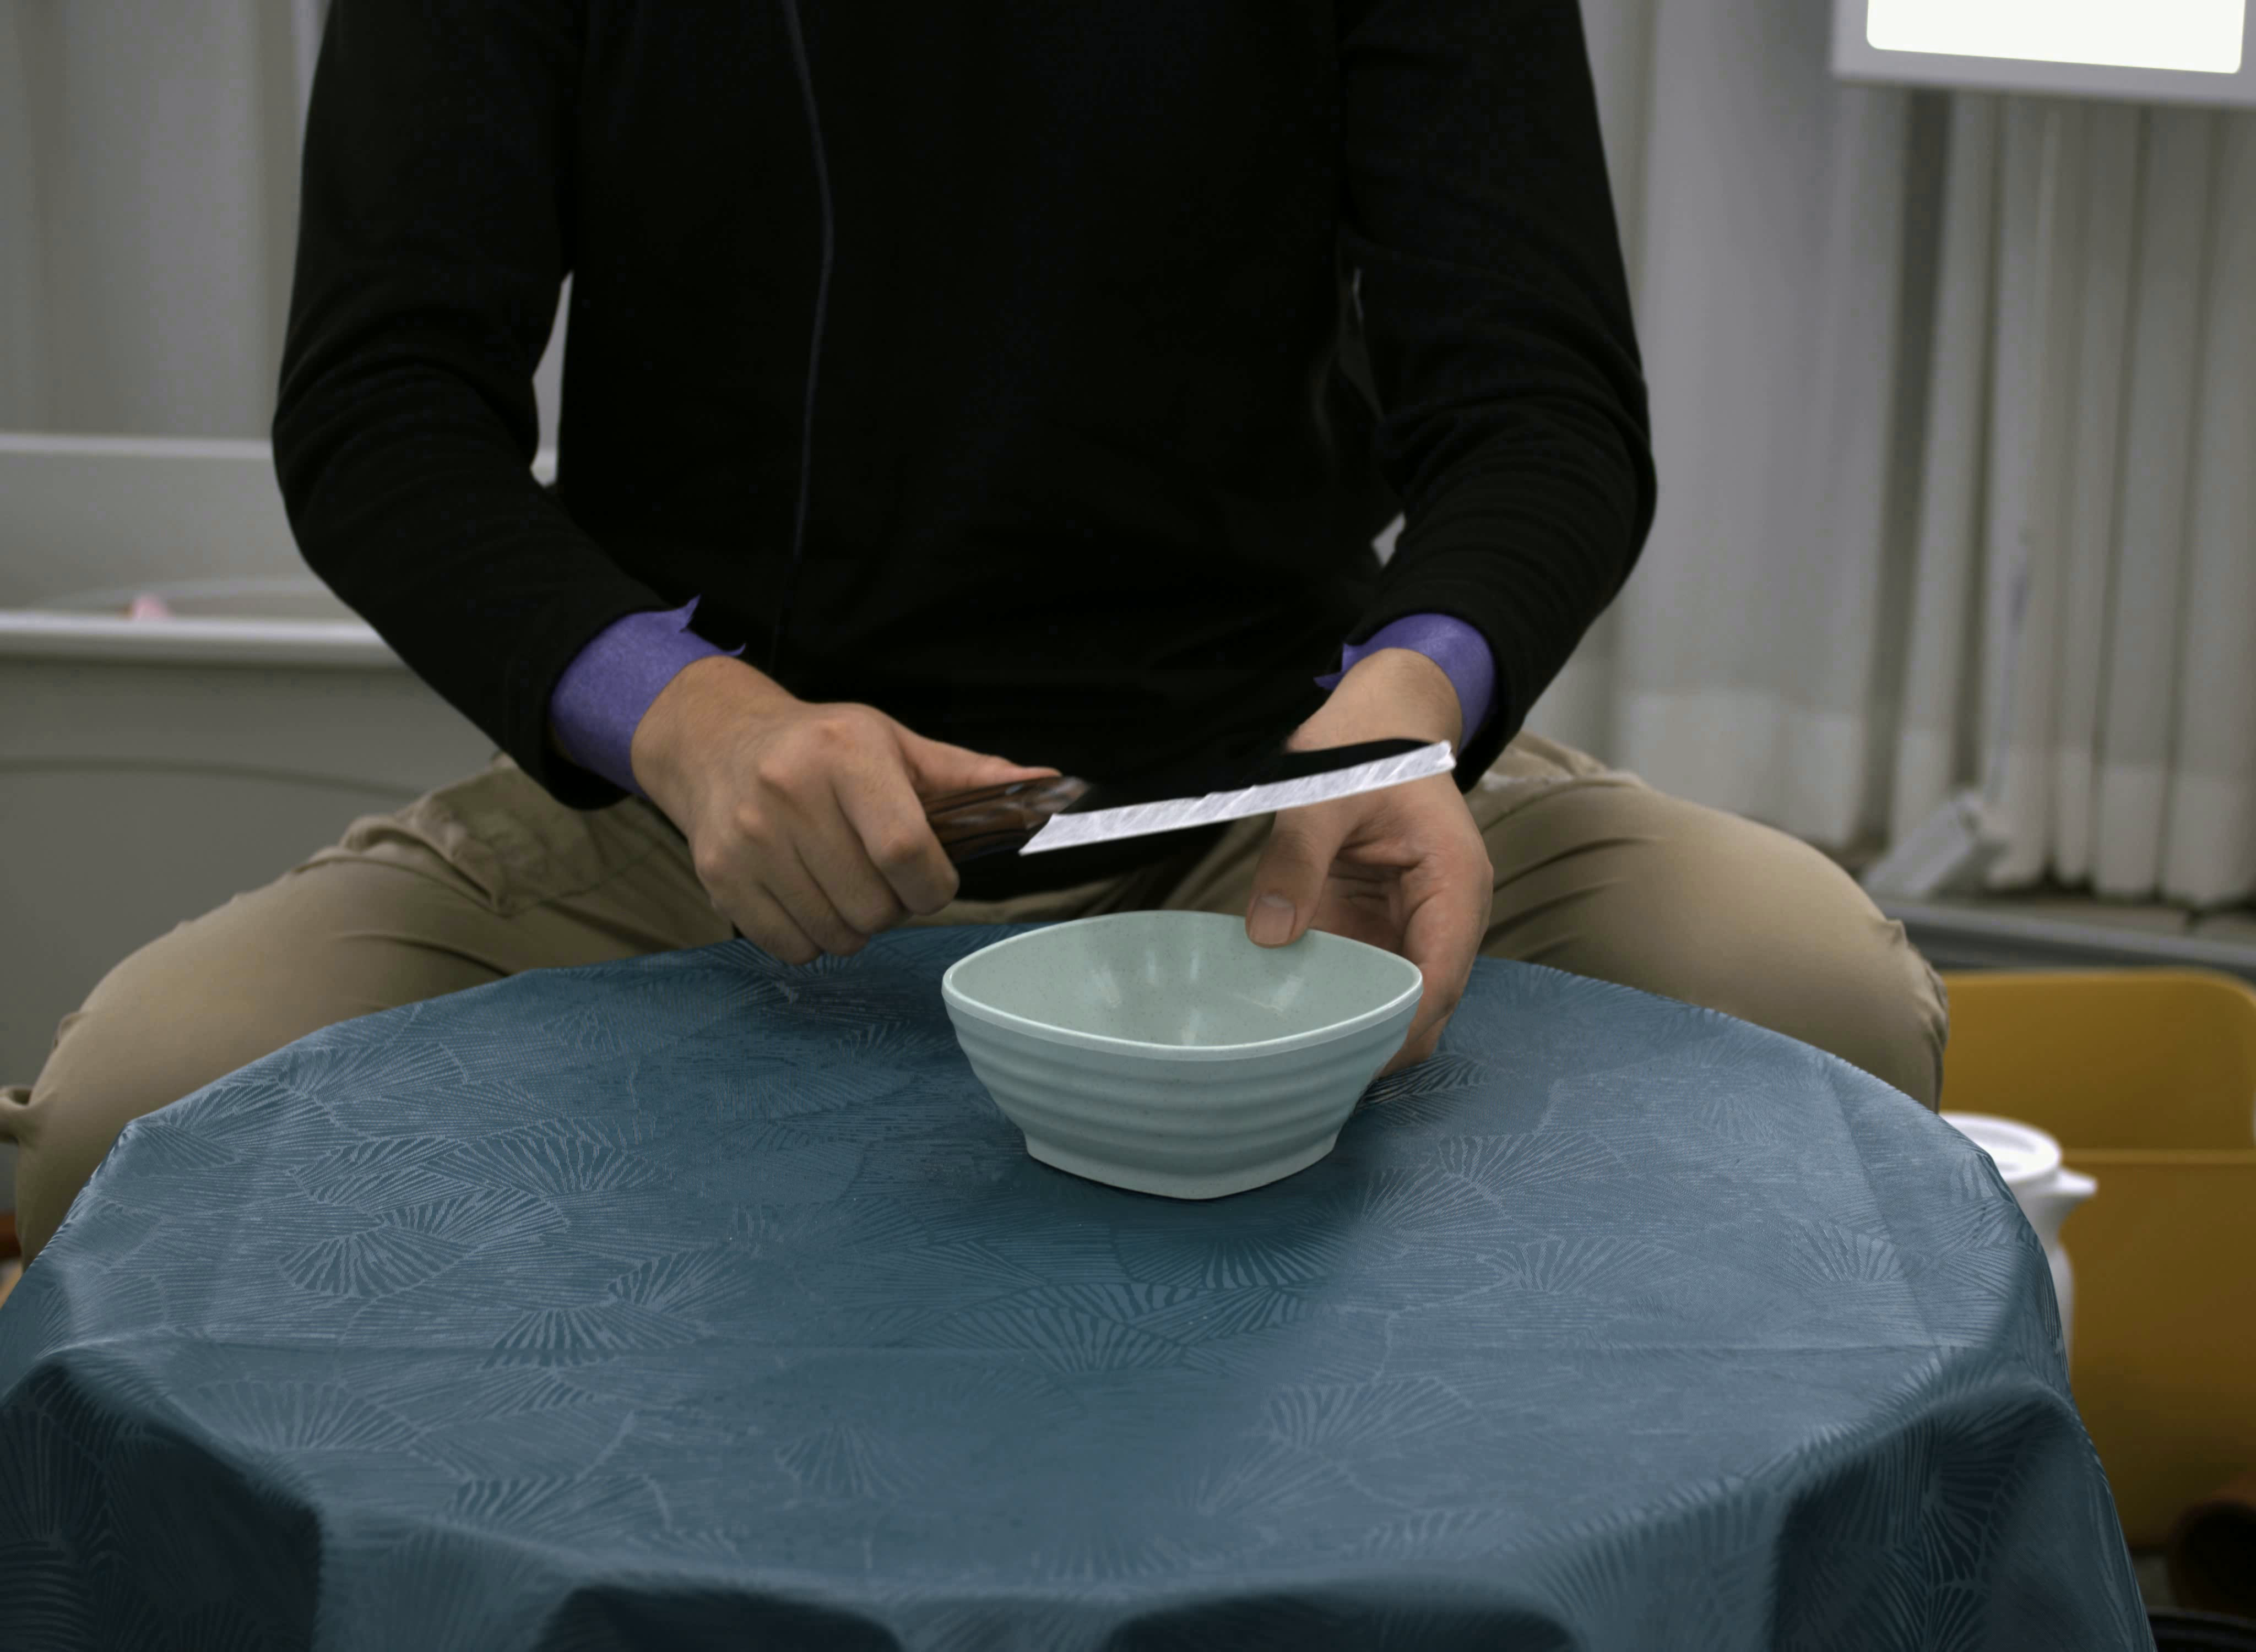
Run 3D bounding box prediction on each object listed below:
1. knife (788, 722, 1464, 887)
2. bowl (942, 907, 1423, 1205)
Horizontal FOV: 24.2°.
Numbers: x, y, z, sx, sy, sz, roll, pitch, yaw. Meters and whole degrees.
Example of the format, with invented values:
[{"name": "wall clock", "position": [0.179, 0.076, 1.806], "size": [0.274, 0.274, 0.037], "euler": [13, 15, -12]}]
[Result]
[{"name": "knife", "position": [-0.005, -0.007, 1.717], "size": [0.286, 0.020, 0.050], "euler": [-8, 25, 39]}, {"name": "bowl", "position": [0.016, 0.075, 1.653], "size": [0.151, 0.059, 0.150], "euler": [2, 16, 0]}]
